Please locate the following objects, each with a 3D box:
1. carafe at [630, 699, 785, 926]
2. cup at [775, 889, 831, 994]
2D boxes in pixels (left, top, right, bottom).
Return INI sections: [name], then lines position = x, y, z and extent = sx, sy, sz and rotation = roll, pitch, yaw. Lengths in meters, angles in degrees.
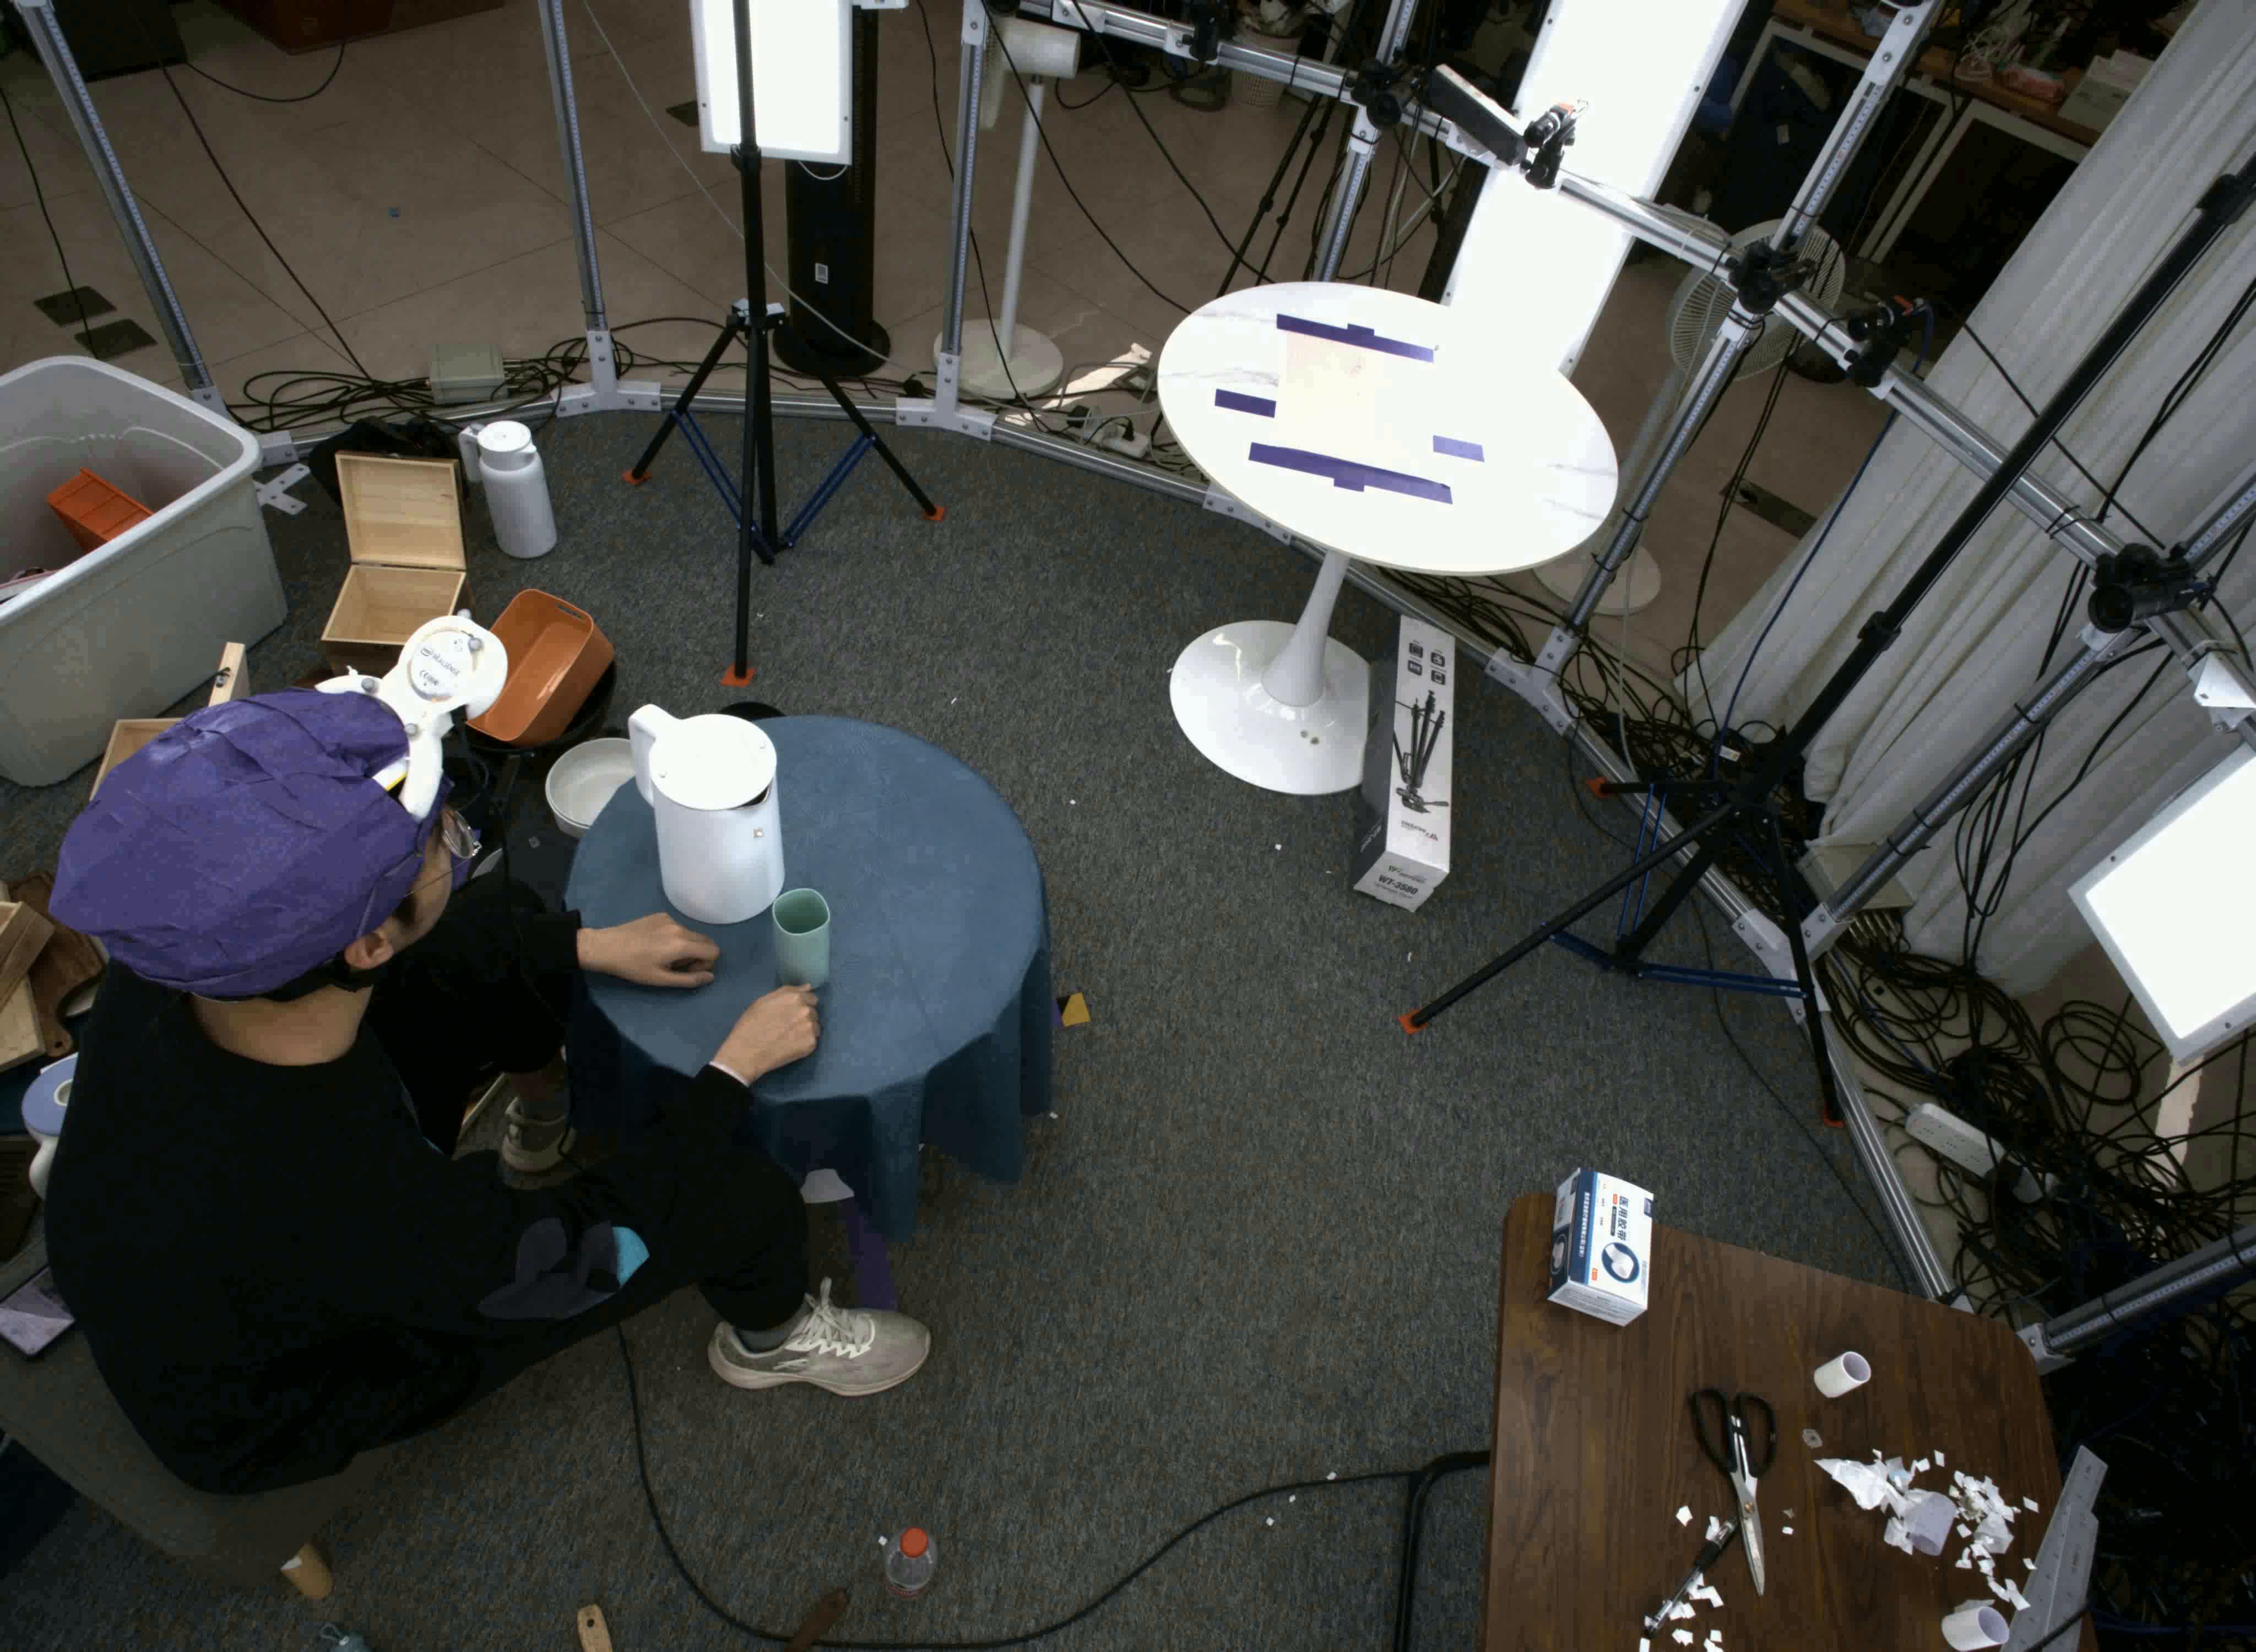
[carafe]
position = -0.518, -0.025, 1.574
extent = 0.209, 0.245, 0.152
rotation = 35, 52, 13
[cup]
position = -0.391, 0.138, 1.556
extent = 0.066, 0.135, 0.065
rotation = 7, 52, -8
